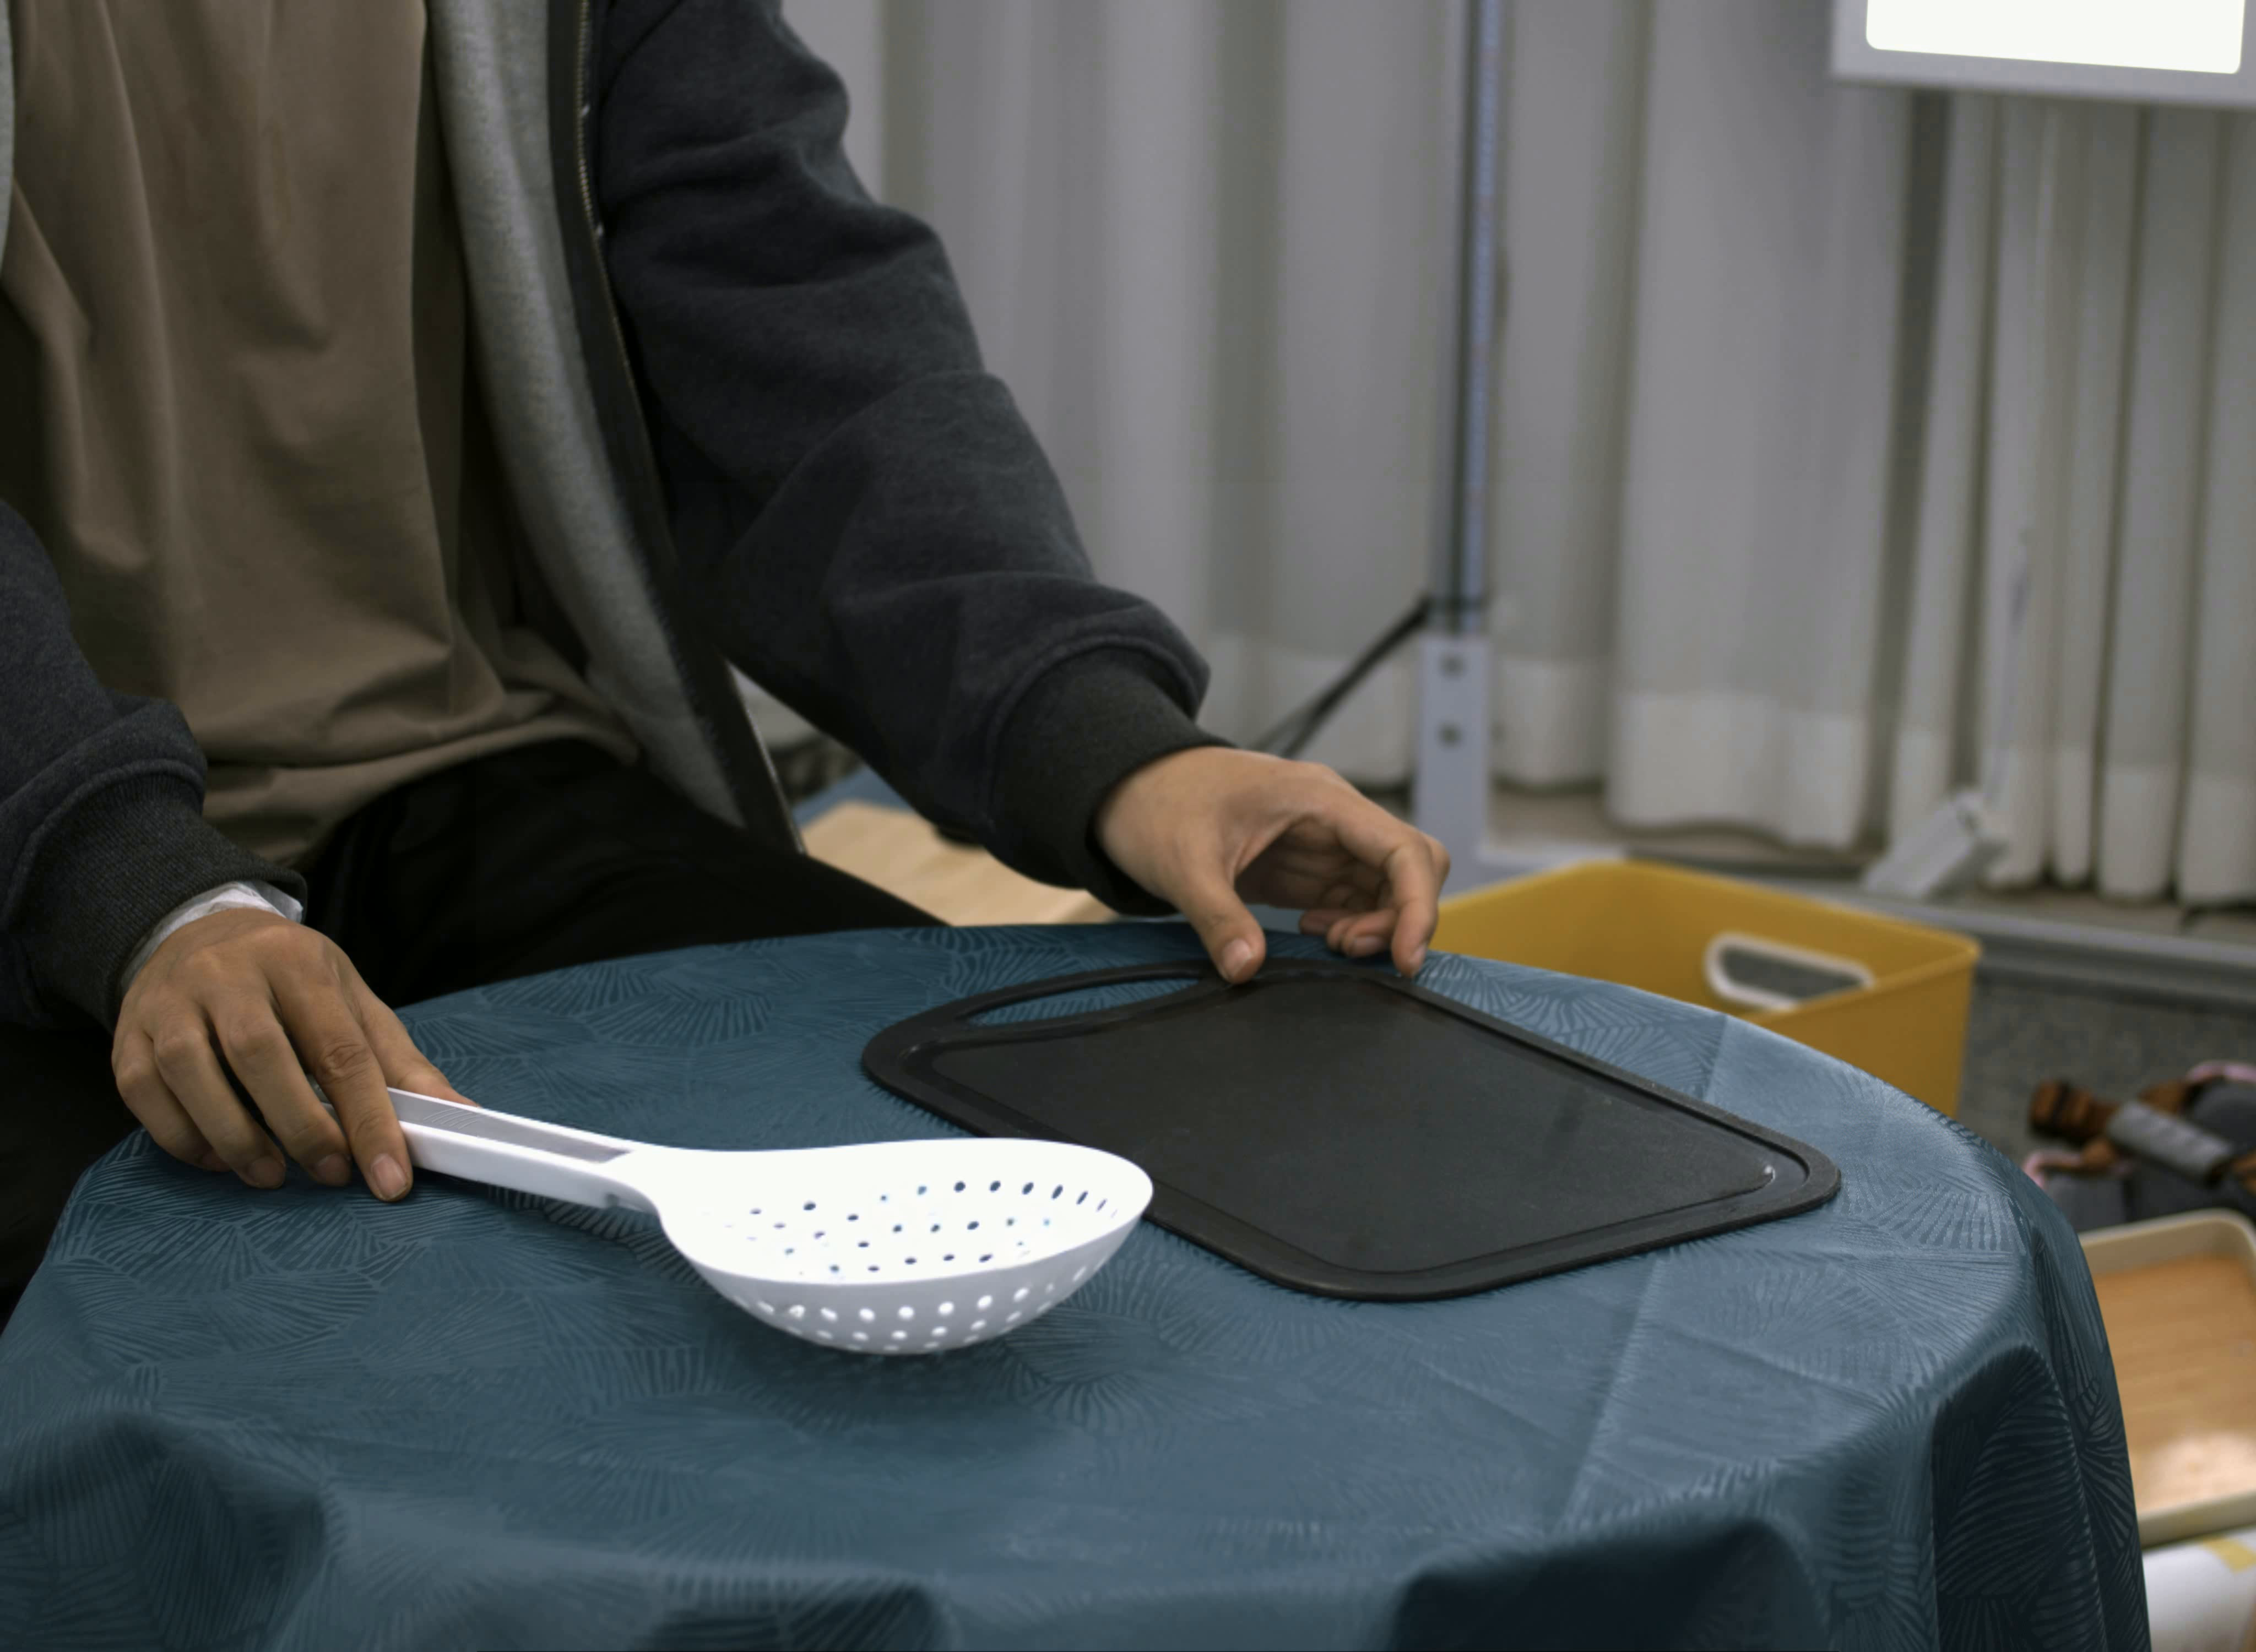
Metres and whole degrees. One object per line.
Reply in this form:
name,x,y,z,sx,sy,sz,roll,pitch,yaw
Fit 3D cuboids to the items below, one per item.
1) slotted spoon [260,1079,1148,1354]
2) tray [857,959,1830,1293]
slotted spoon,-0.140,0.105,1.558,0.345,0.046,0.136,13,20,40
tray,0.059,0.089,1.696,0.212,0.010,0.321,-10,19,-33
